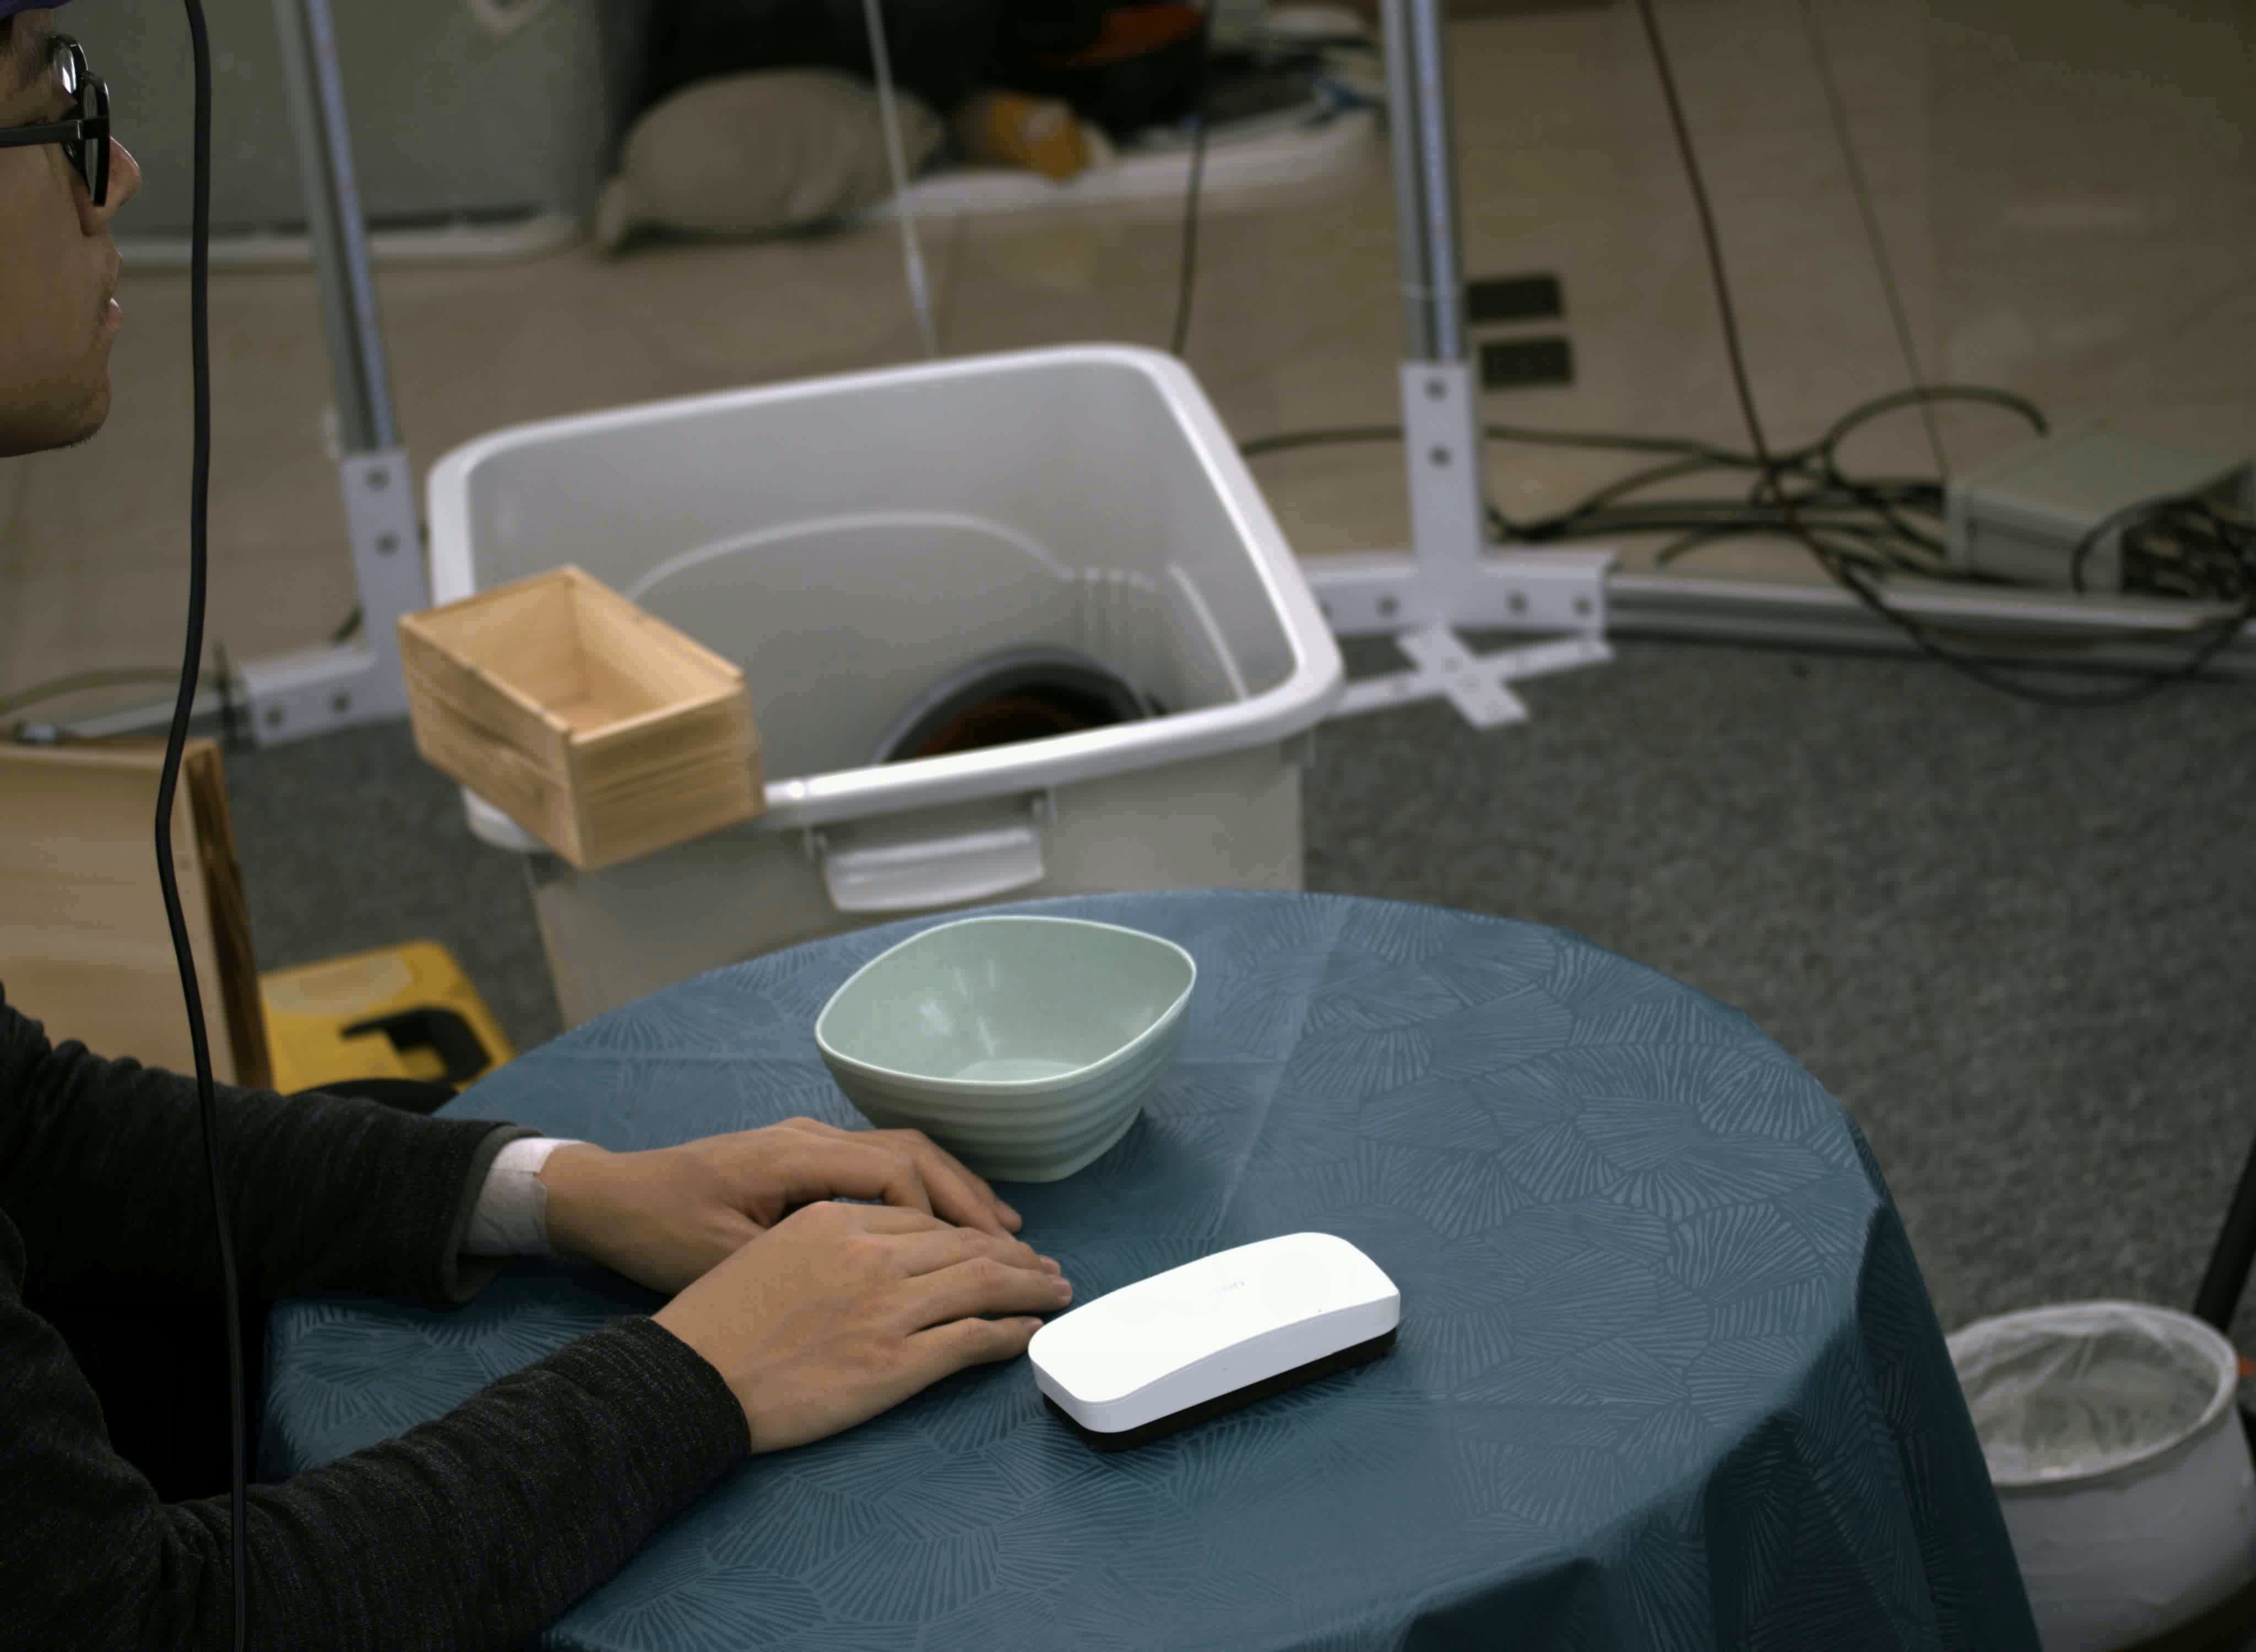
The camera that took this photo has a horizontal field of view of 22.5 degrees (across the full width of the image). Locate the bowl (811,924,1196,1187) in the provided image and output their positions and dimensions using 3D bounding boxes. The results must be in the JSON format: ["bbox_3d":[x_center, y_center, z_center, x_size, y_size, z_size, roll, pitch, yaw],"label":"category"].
[{"bbox_3d":[-0.046,0.093,2.191,0.151,0.059,0.149,-4,24,2],"label":"bowl"}]

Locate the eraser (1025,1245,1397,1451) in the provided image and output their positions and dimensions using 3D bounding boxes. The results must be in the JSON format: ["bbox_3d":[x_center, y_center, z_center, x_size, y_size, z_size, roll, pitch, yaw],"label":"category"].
[{"bbox_3d":[0.029,0.181,2.013,0.130,0.035,0.063,-16,24,-24],"label":"eraser"}]
